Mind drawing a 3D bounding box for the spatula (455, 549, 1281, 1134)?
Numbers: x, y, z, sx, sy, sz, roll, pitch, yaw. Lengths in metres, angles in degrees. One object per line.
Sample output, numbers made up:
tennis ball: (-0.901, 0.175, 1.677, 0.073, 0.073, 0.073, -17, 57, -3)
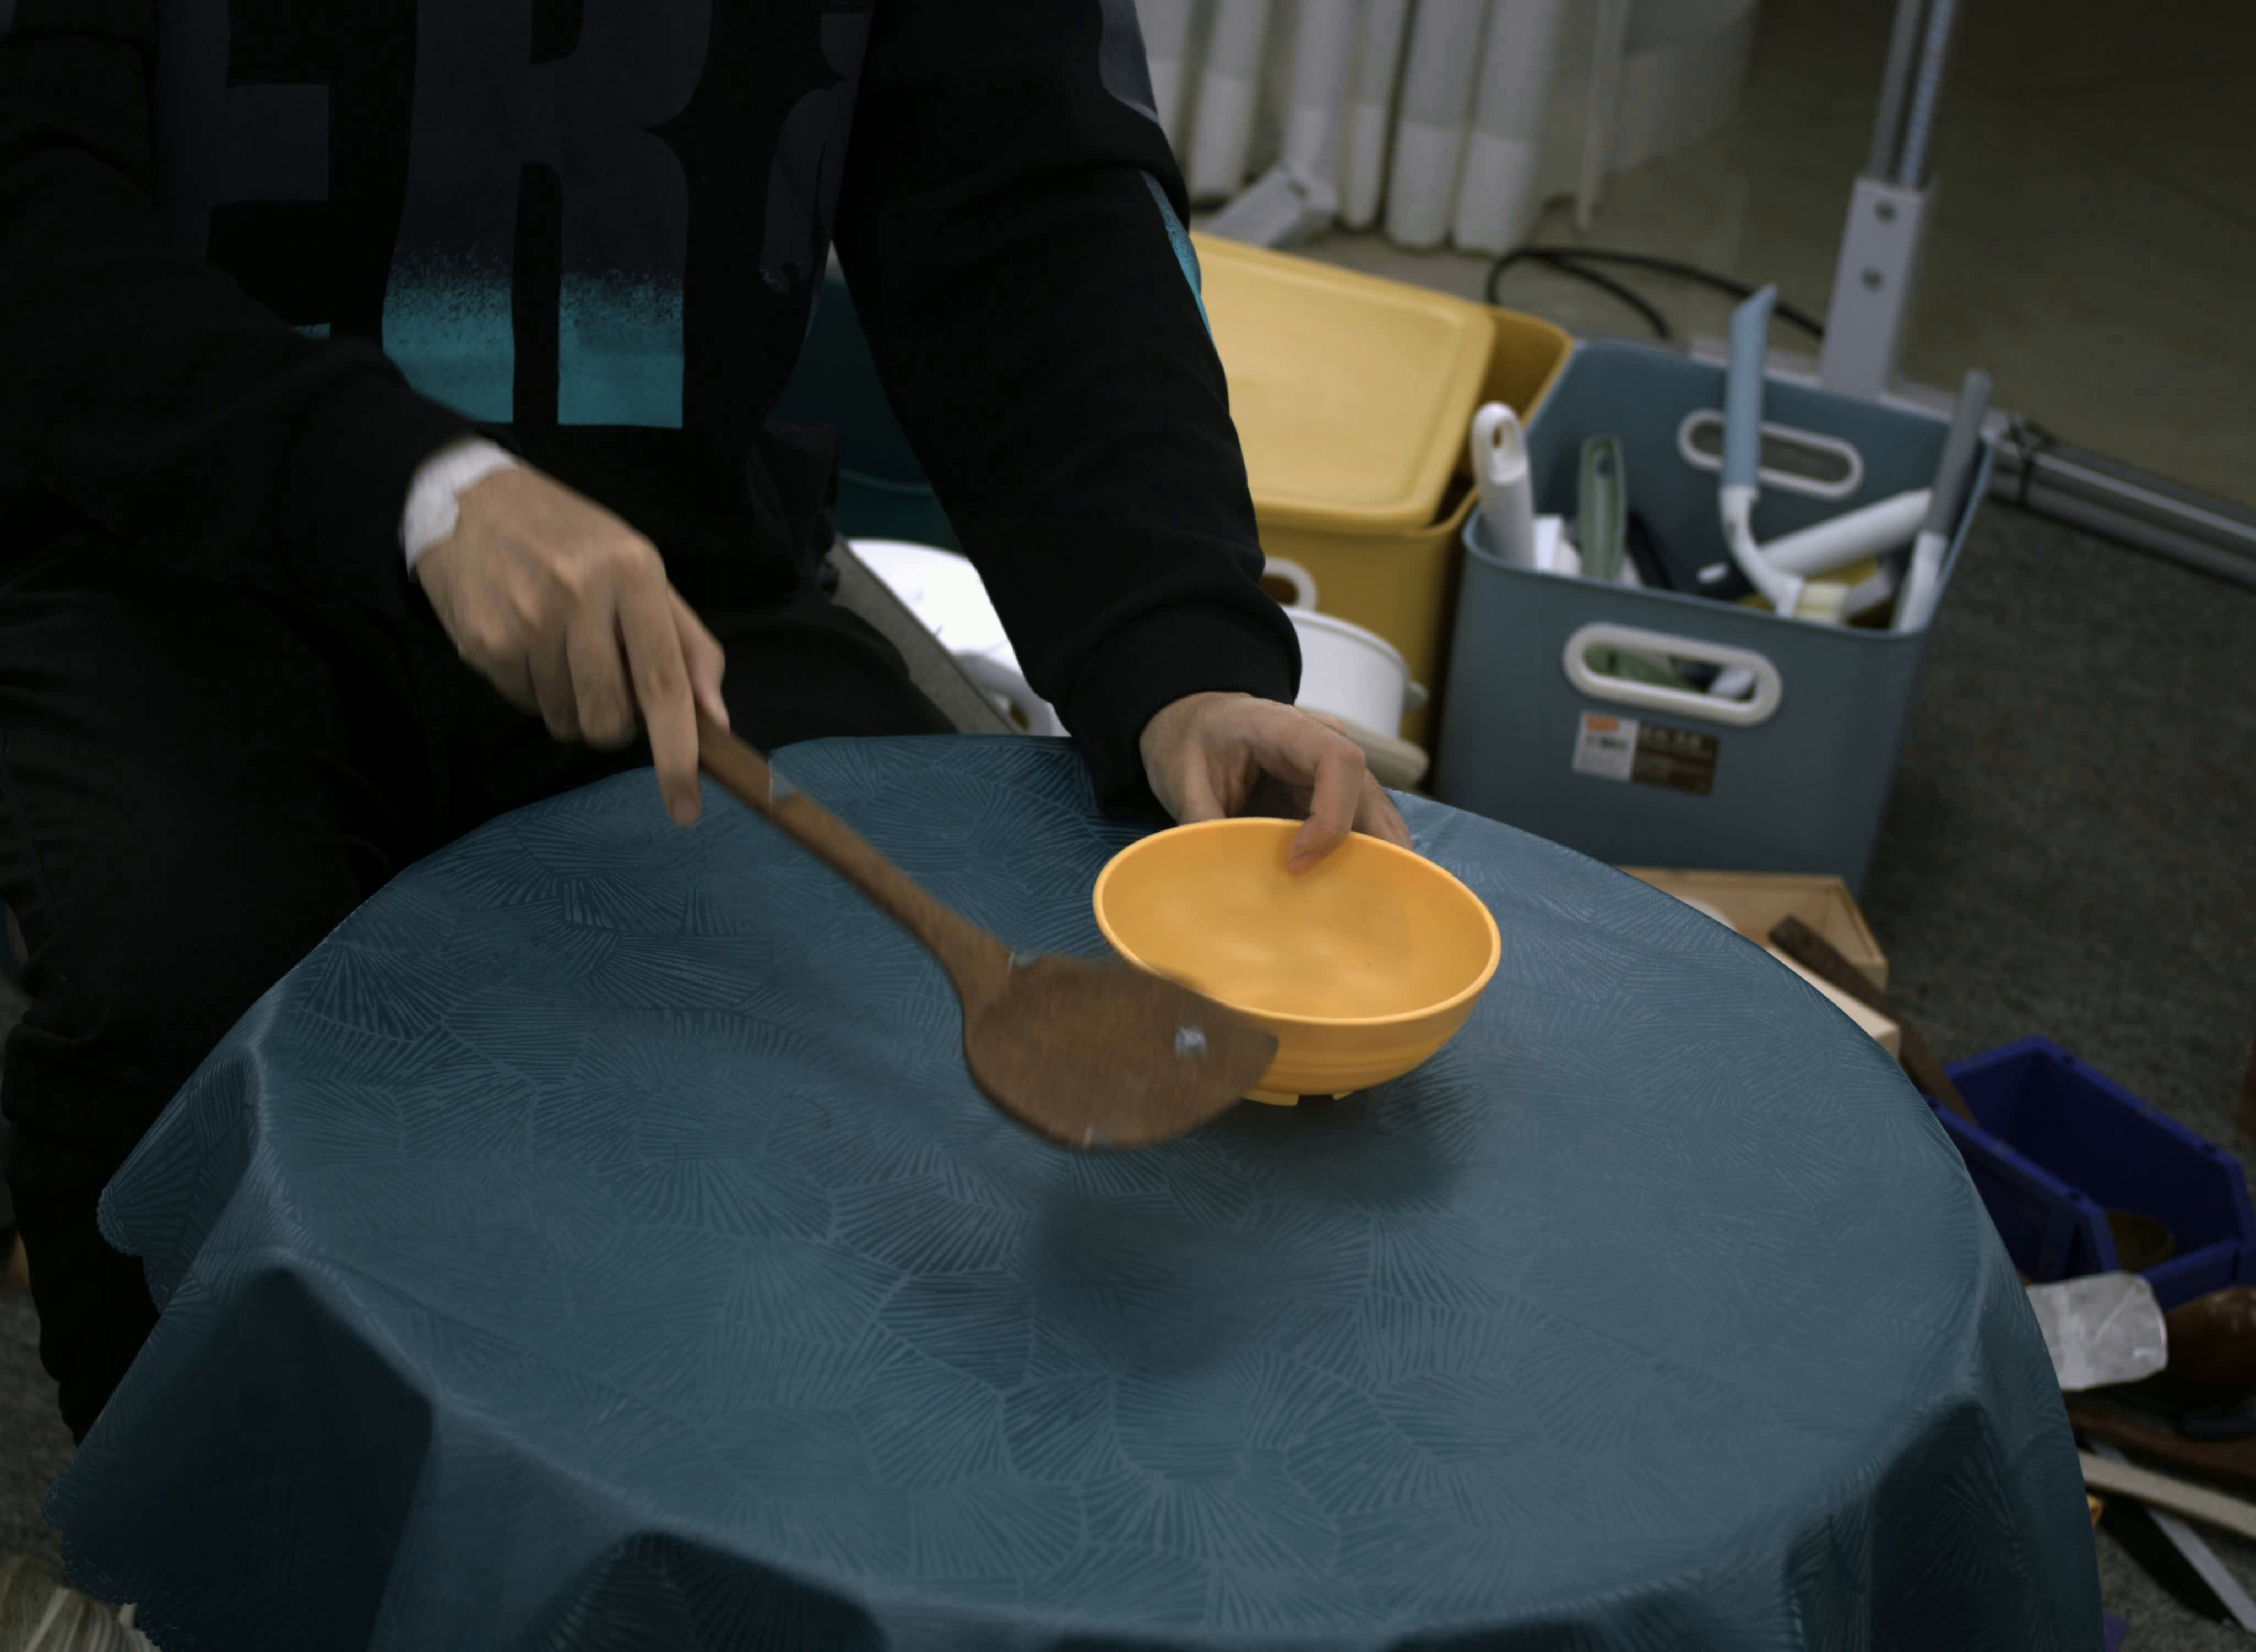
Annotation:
spatula: (-0.106, -0.005, 1.812, 0.096, 0.016, 0.389, -29, 49, -34)

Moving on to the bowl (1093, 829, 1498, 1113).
bowl: (0.055, 0.060, 1.877, 0.145, 0.060, 0.146, 7, 25, -4)
